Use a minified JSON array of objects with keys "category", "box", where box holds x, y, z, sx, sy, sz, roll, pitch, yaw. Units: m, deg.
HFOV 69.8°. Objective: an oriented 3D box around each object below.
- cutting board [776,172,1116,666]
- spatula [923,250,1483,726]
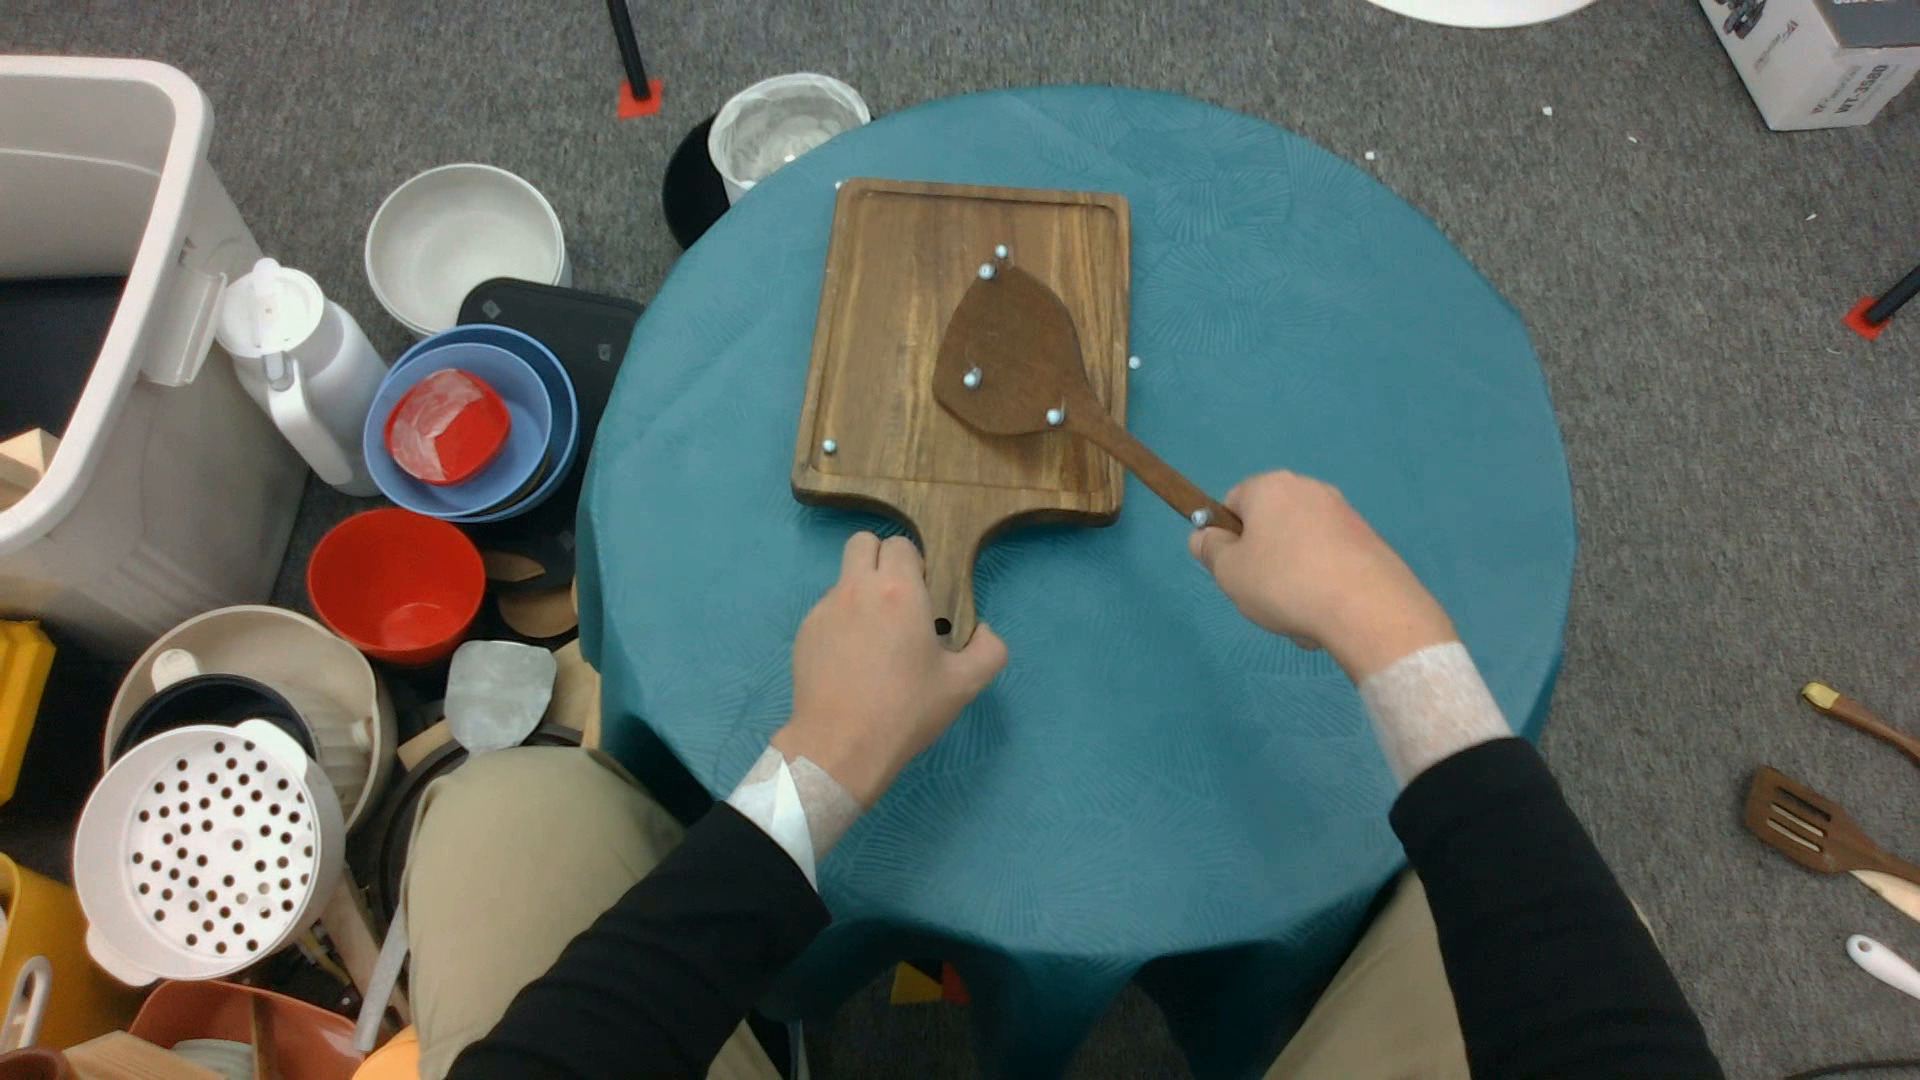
[{"category":"cutting board","box":[-0.006,-0.088,0.836,0.201,0.023,0.353,3,60,1]},{"category":"spatula","box":[0.111,-0.030,0.721,0.386,0.016,0.096,42,115,33]}]
